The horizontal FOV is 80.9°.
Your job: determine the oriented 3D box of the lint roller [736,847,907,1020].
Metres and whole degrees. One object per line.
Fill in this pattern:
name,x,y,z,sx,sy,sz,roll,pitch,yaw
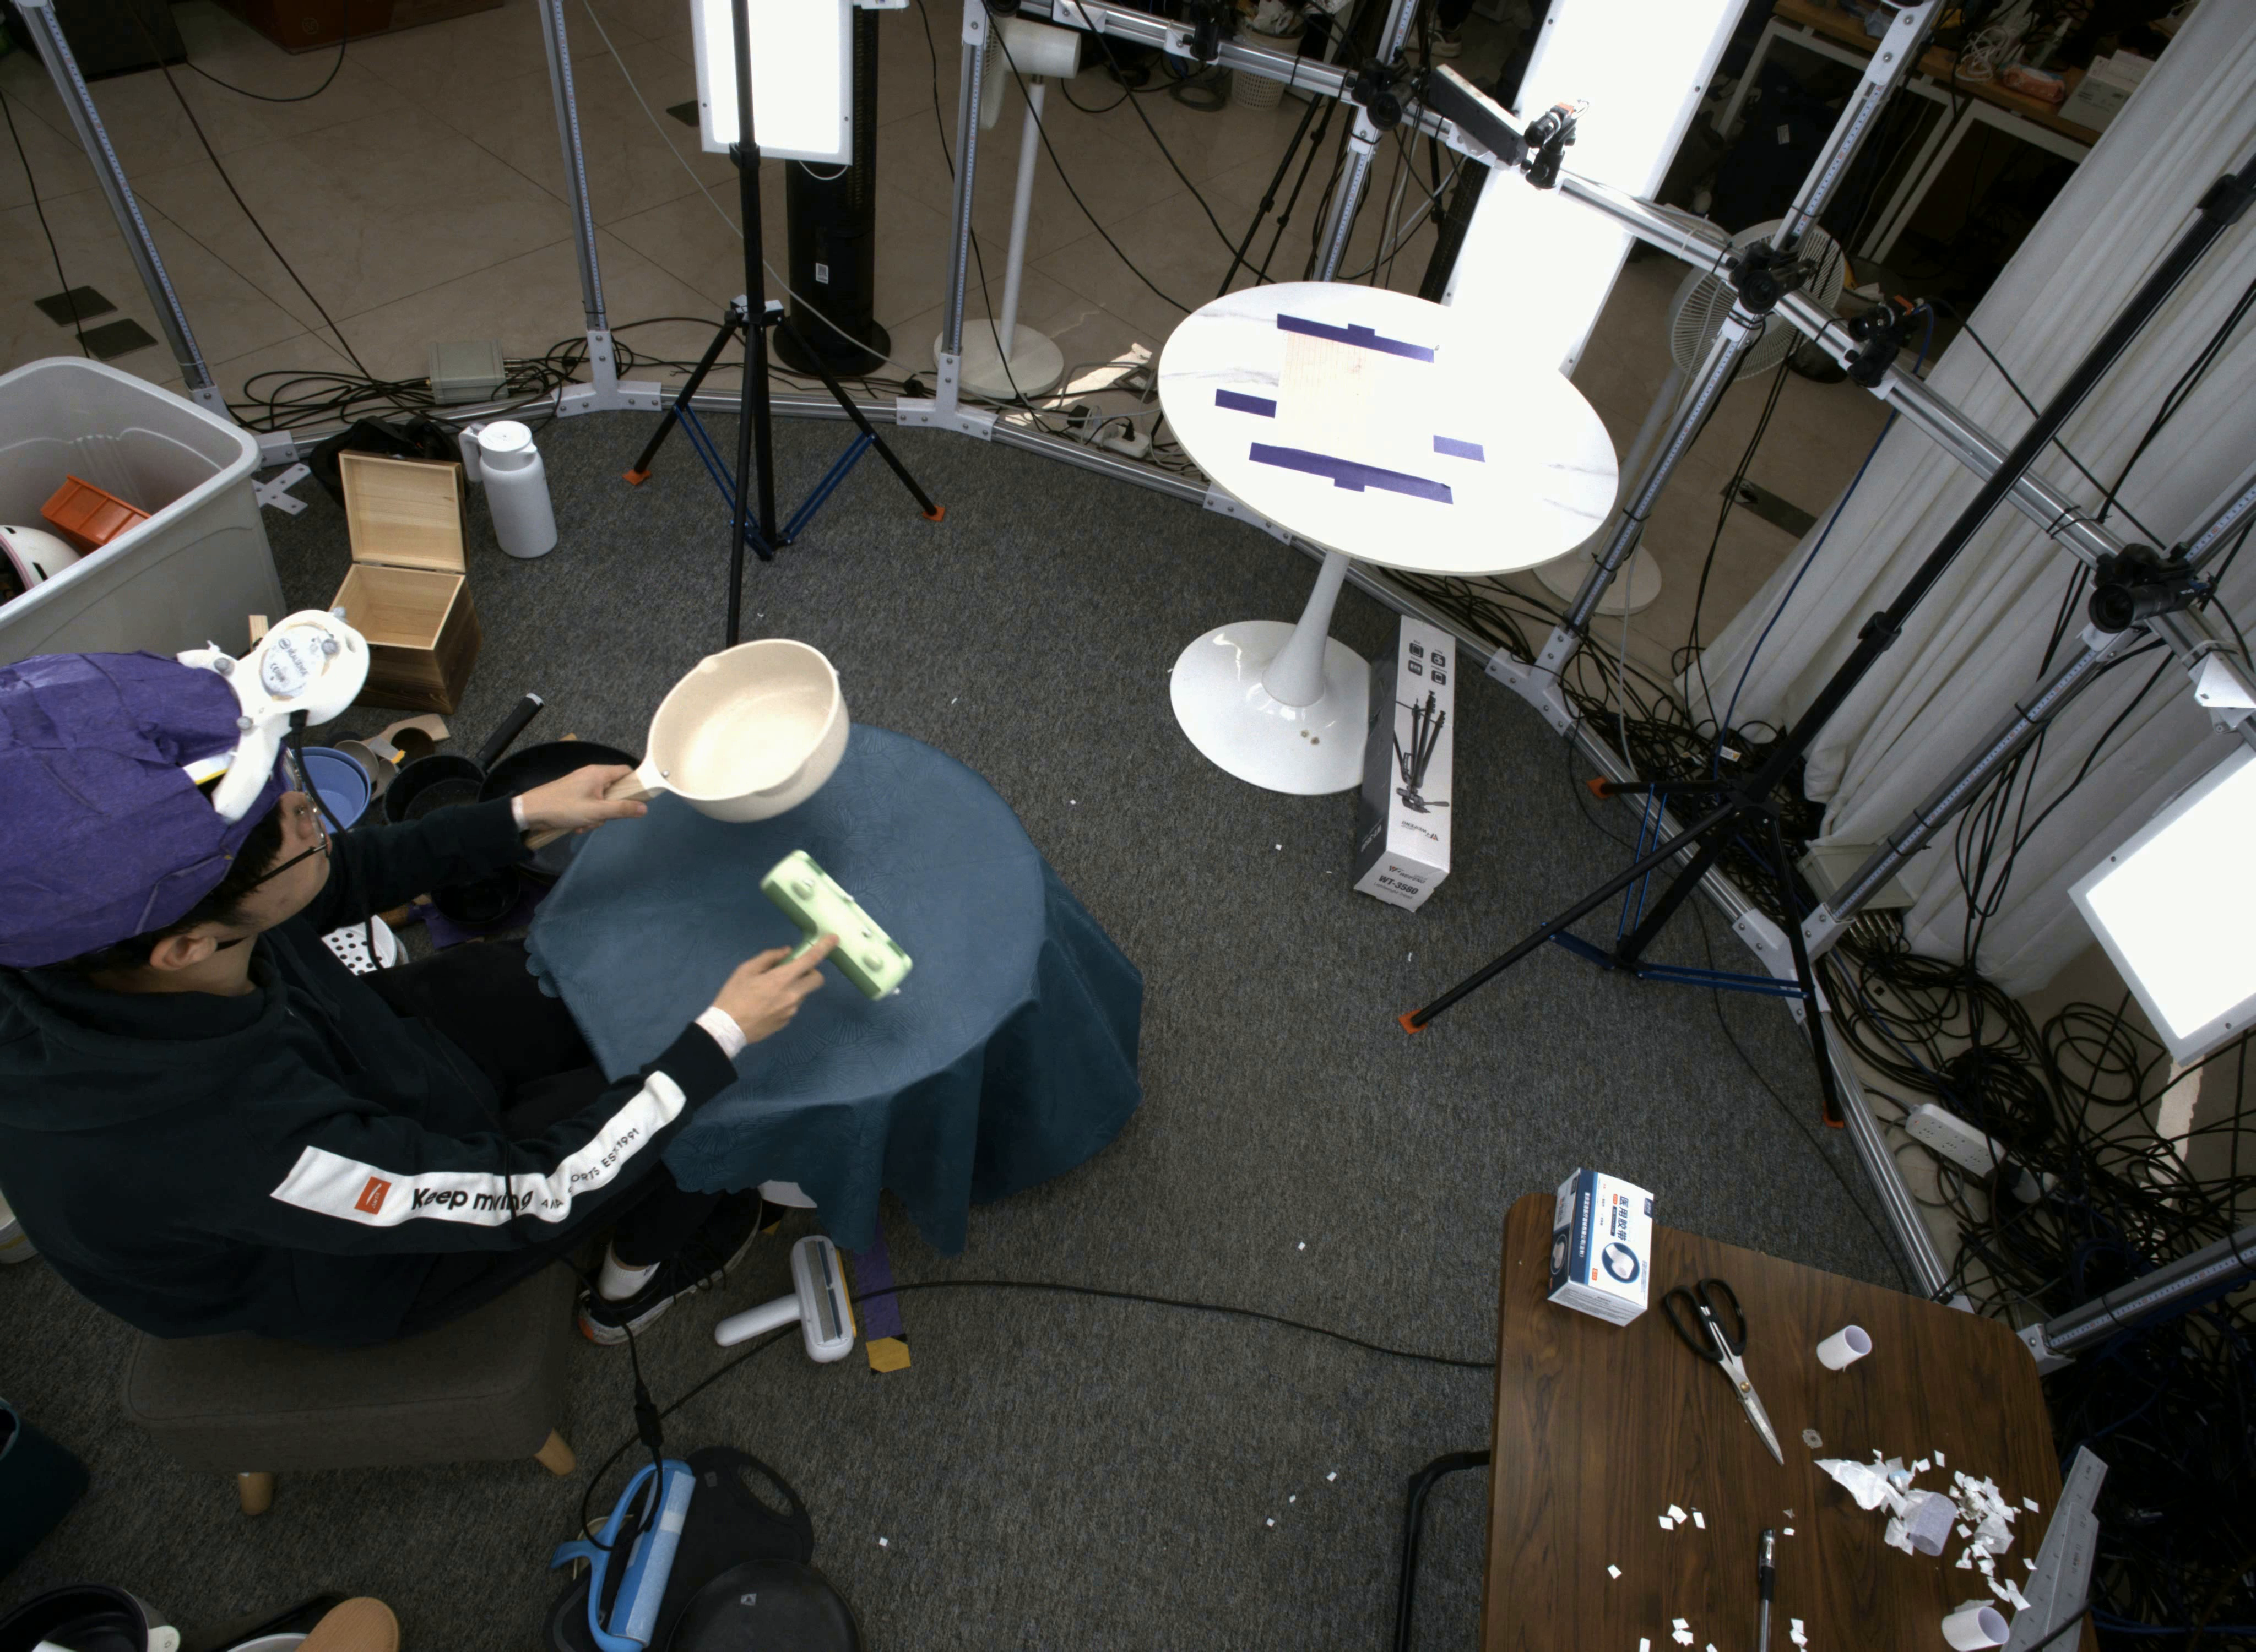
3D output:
lint roller,-0.376,0.146,1.488,0.201,0.081,0.183,47,53,-10

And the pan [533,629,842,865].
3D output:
pan,-0.546,-0.071,1.585,0.434,0.105,0.255,-36,57,-10
